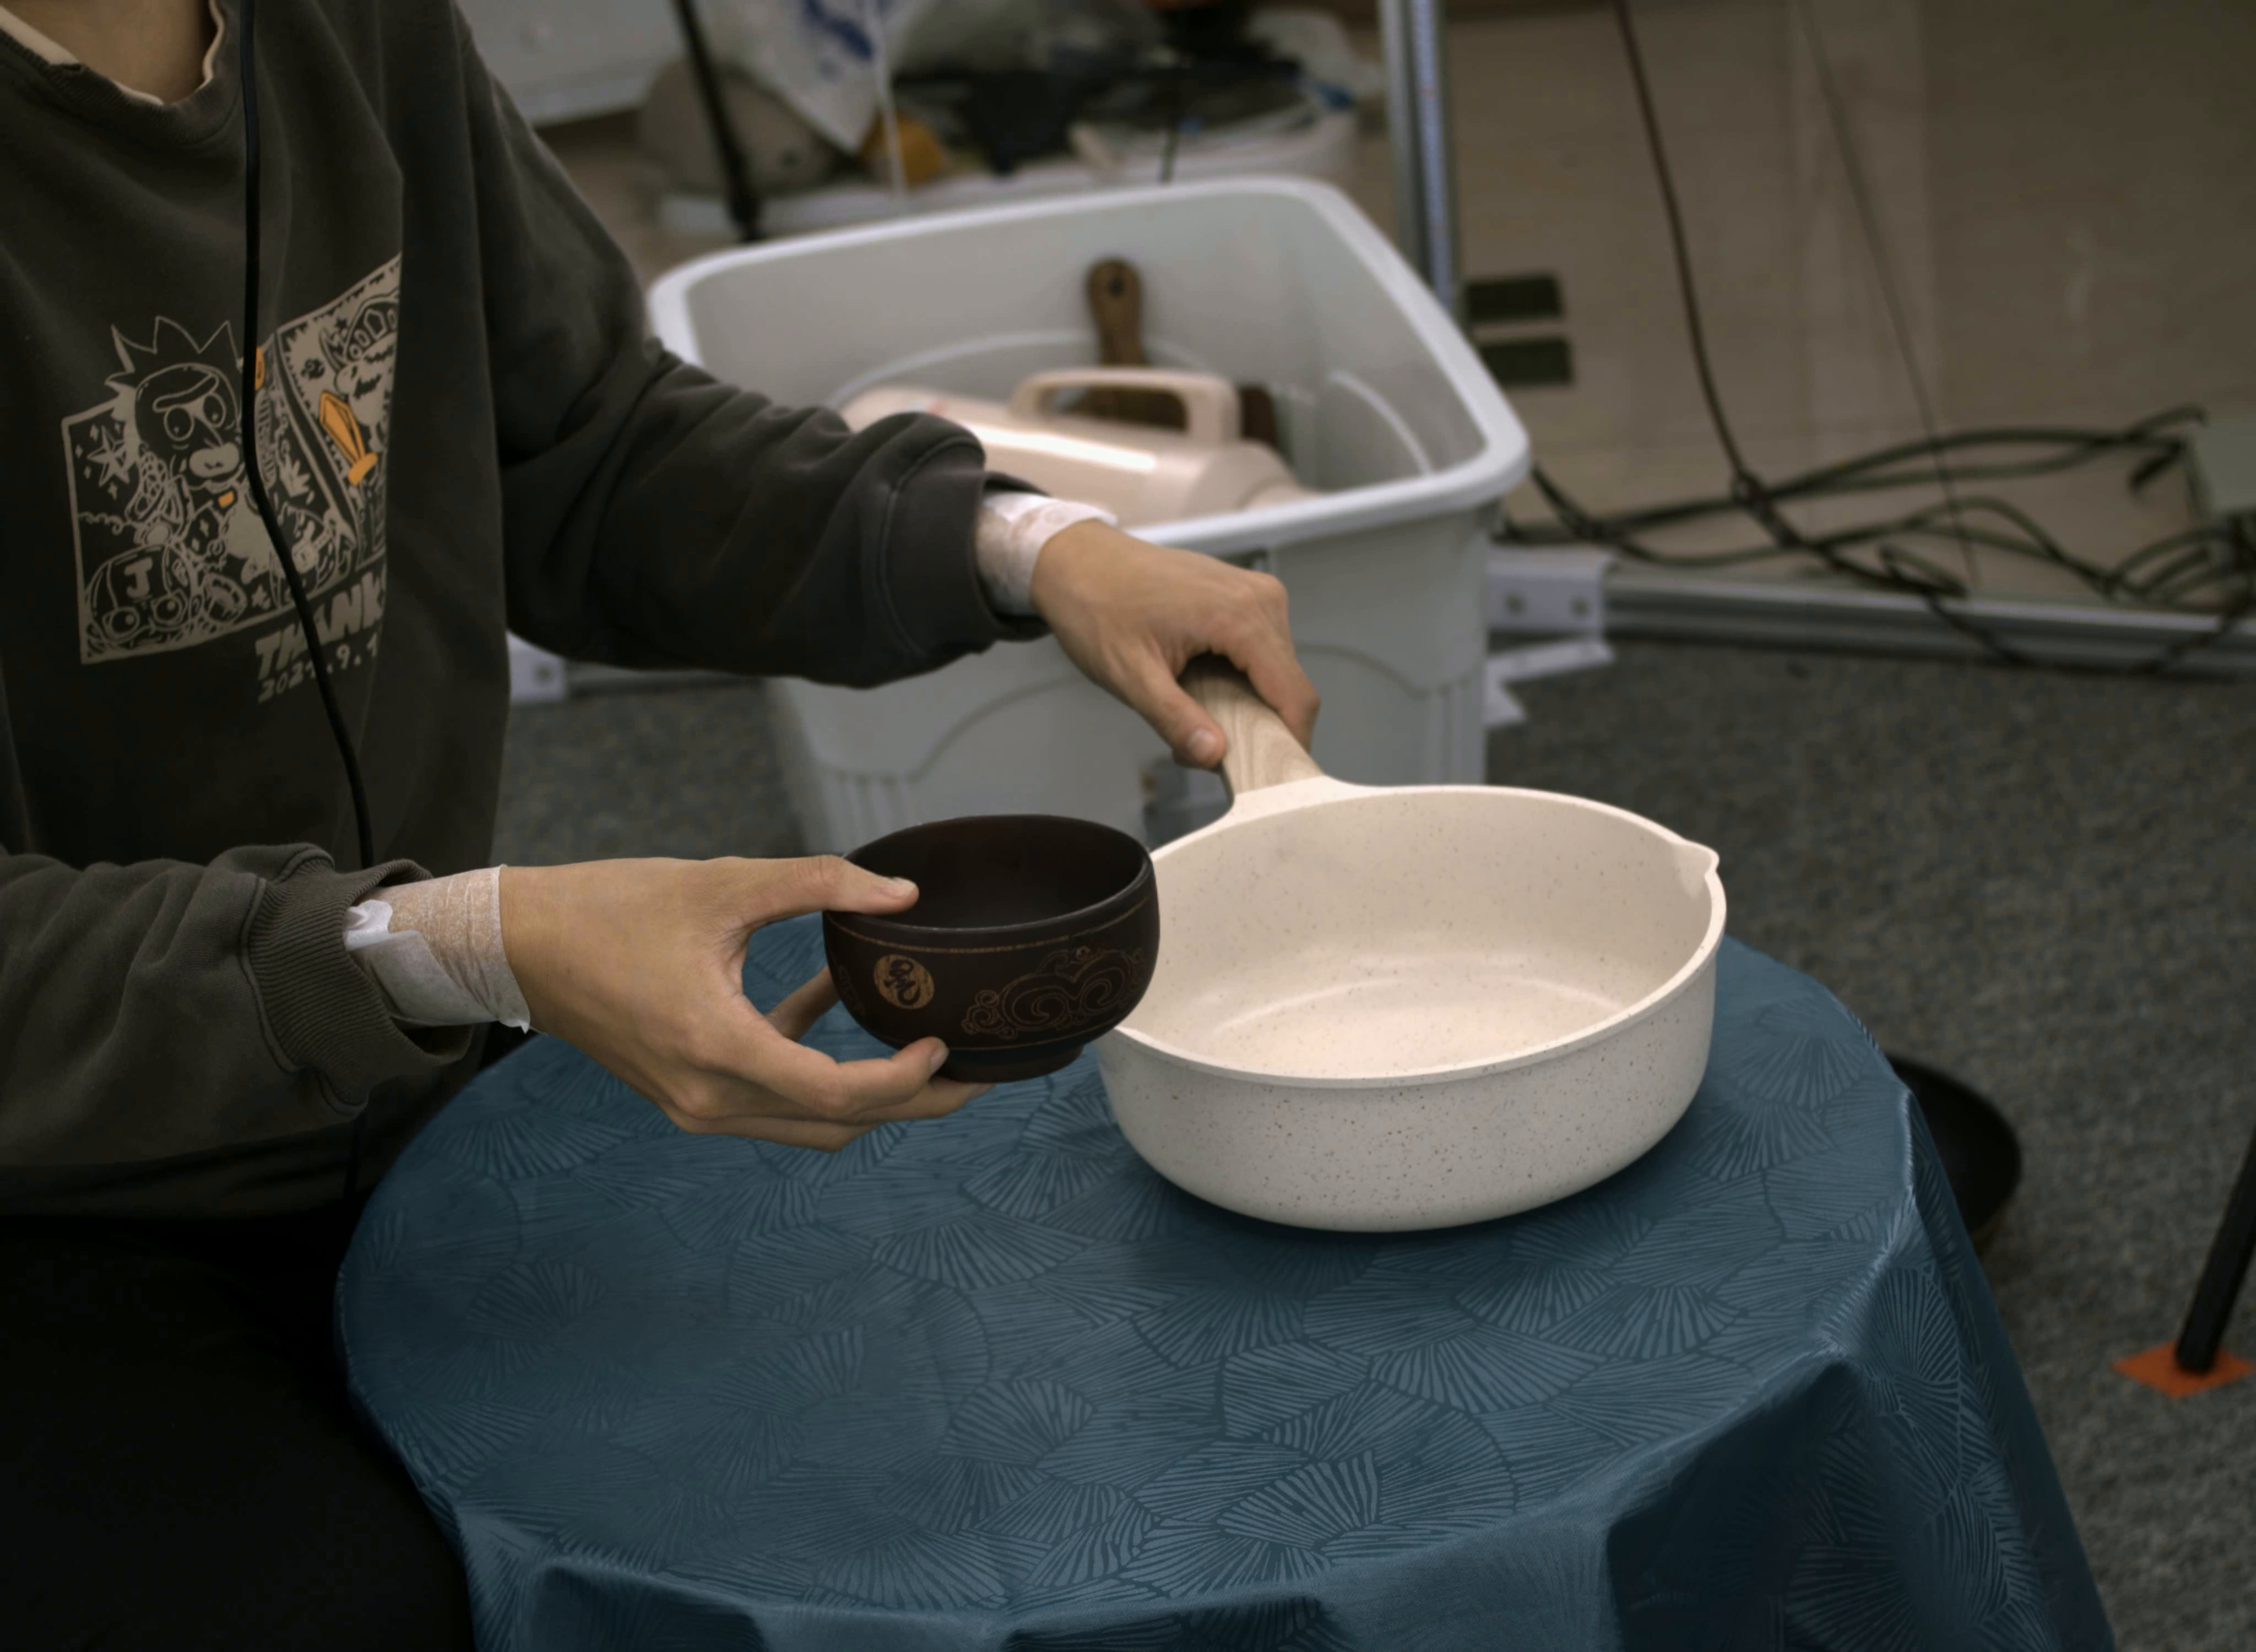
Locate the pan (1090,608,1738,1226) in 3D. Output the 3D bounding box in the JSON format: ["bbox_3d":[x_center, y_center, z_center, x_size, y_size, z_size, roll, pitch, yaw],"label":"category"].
[{"bbox_3d":[0.083,0.031,2.240,0.262,0.103,0.429,-14,25,-12],"label":"pan"}]

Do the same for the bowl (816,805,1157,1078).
[{"bbox_3d":[-0.047,0.045,1.967,0.118,0.071,0.116,-5,22,2],"label":"bowl"}]
